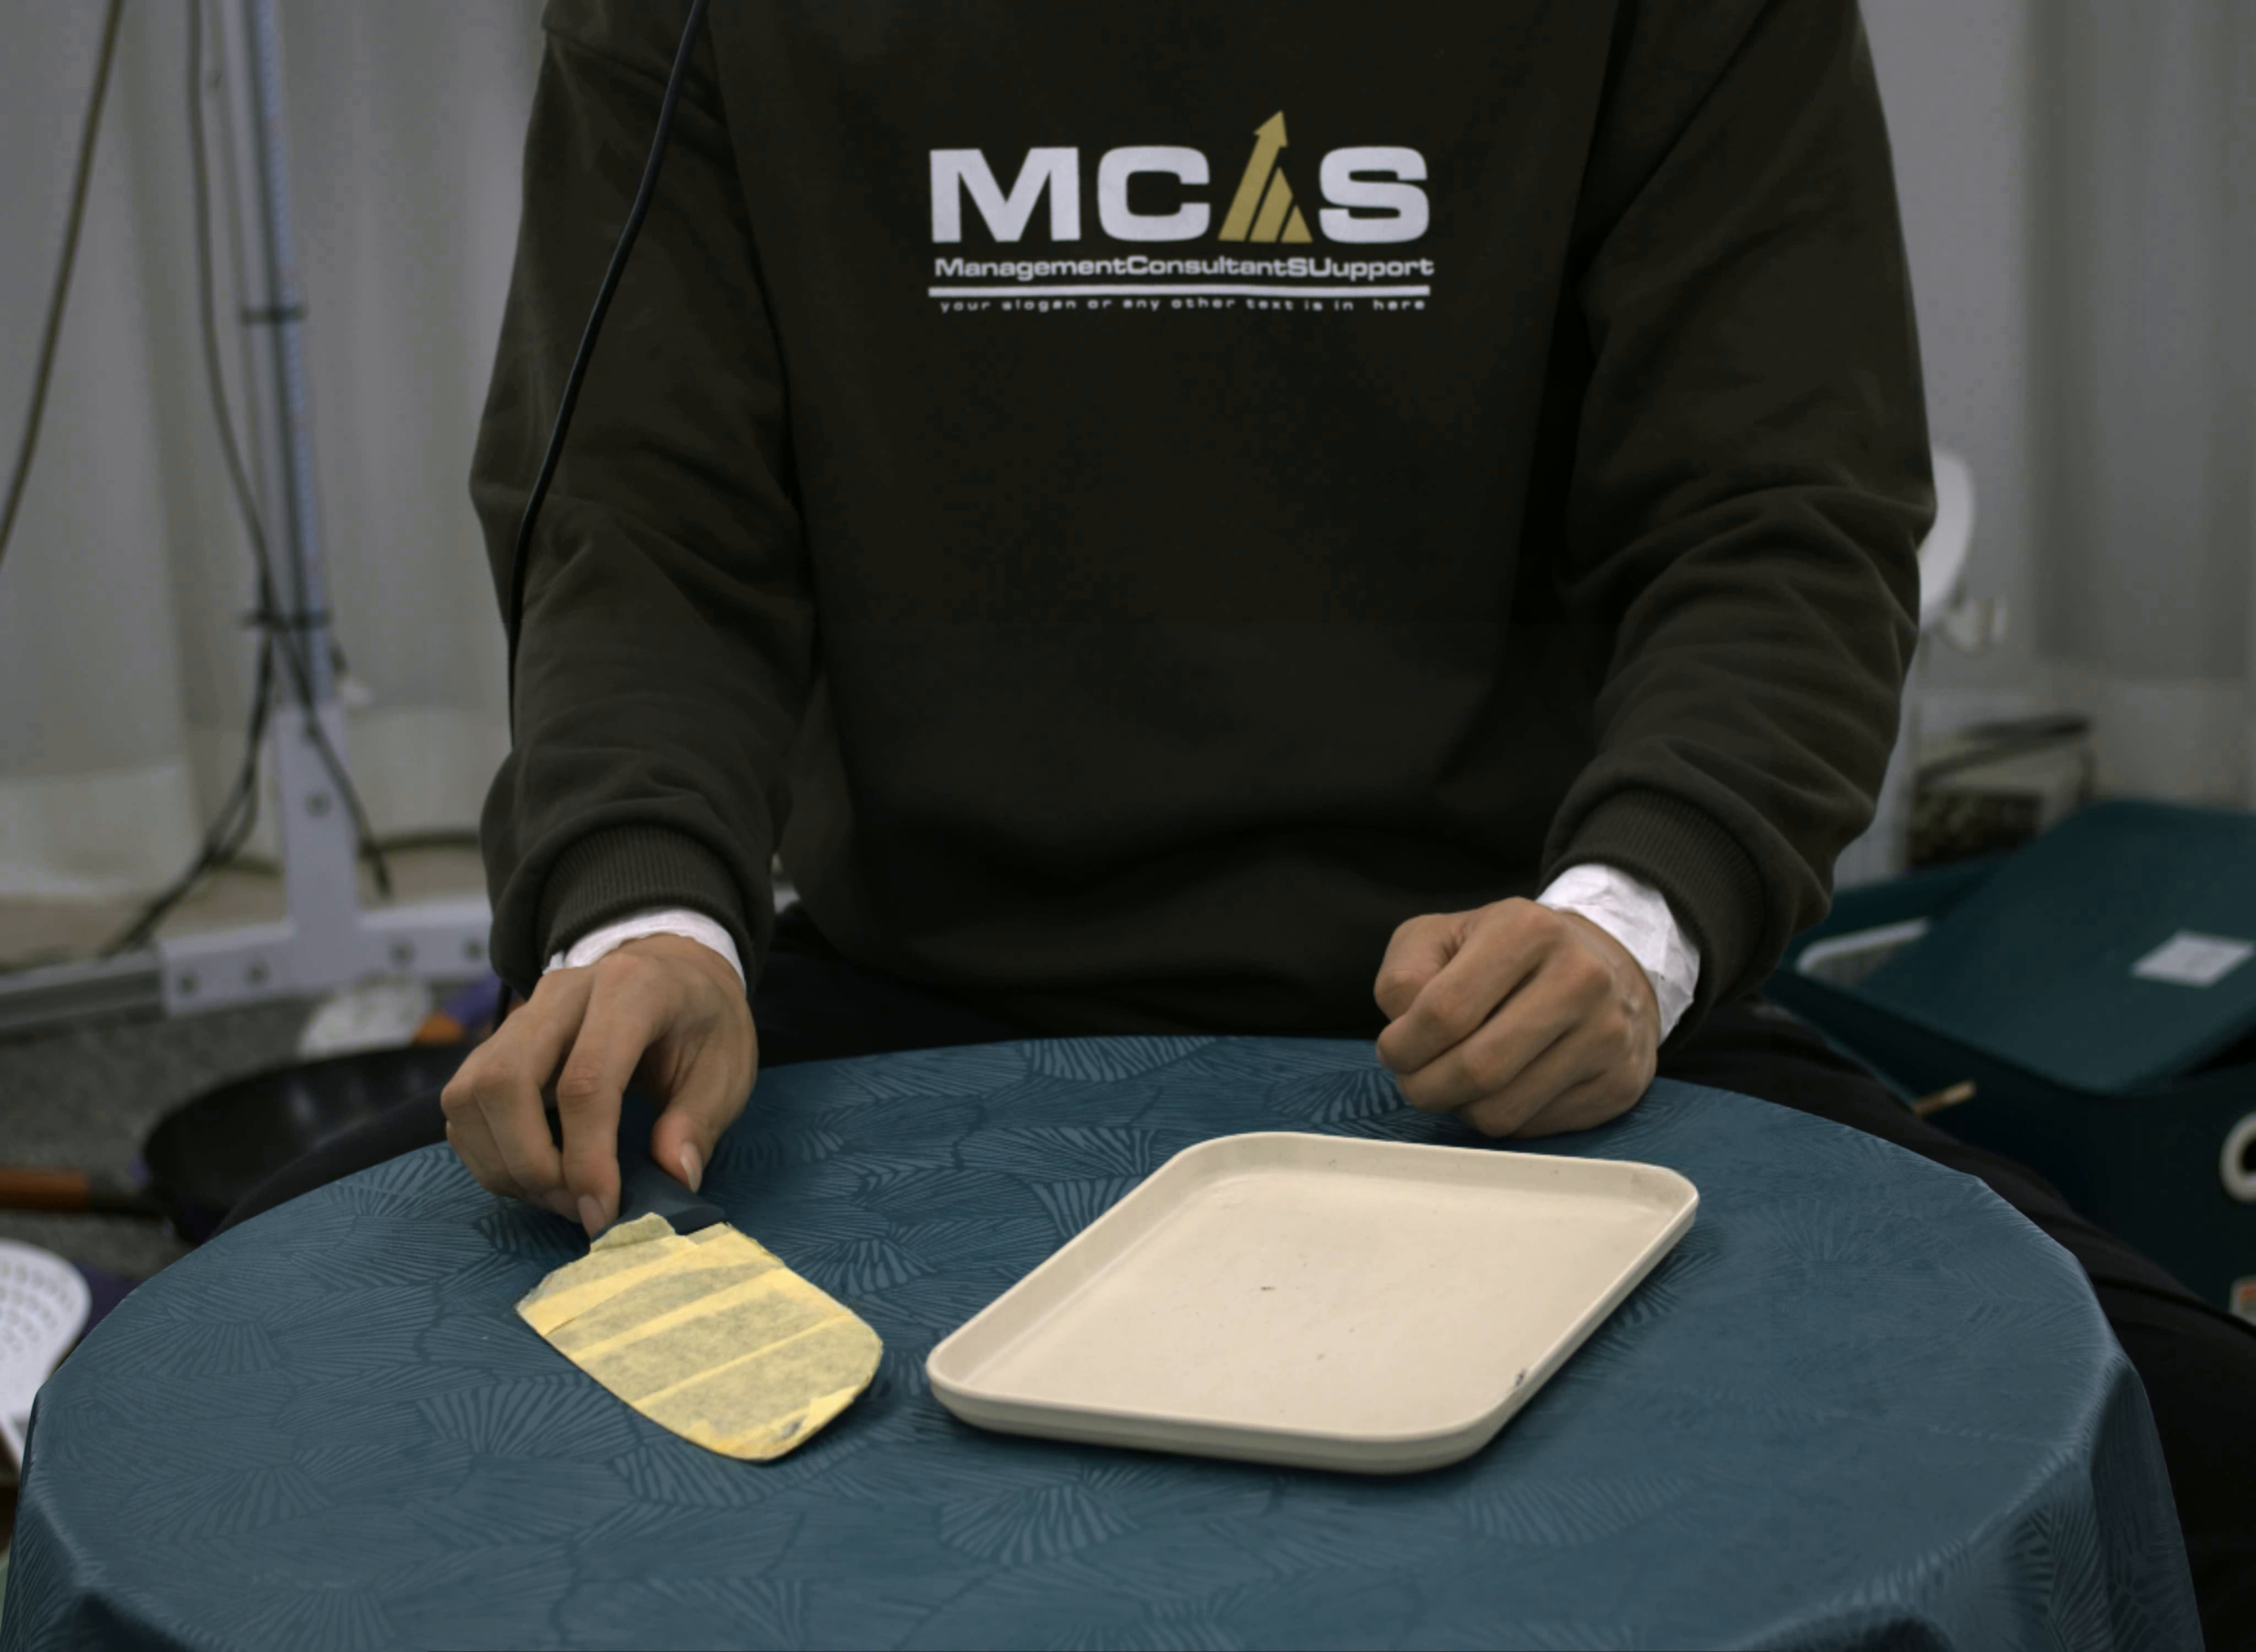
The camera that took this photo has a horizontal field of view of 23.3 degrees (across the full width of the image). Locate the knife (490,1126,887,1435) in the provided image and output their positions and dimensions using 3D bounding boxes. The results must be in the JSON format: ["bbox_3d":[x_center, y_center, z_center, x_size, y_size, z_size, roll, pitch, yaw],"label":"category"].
[{"bbox_3d":[-0.146,0.136,1.637,0.081,0.027,0.291,-18,18,-20],"label":"knife"}]

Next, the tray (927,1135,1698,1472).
[{"bbox_3d":[0.058,0.137,1.587,0.171,0.017,0.240,3,16,23],"label":"tray"}]
